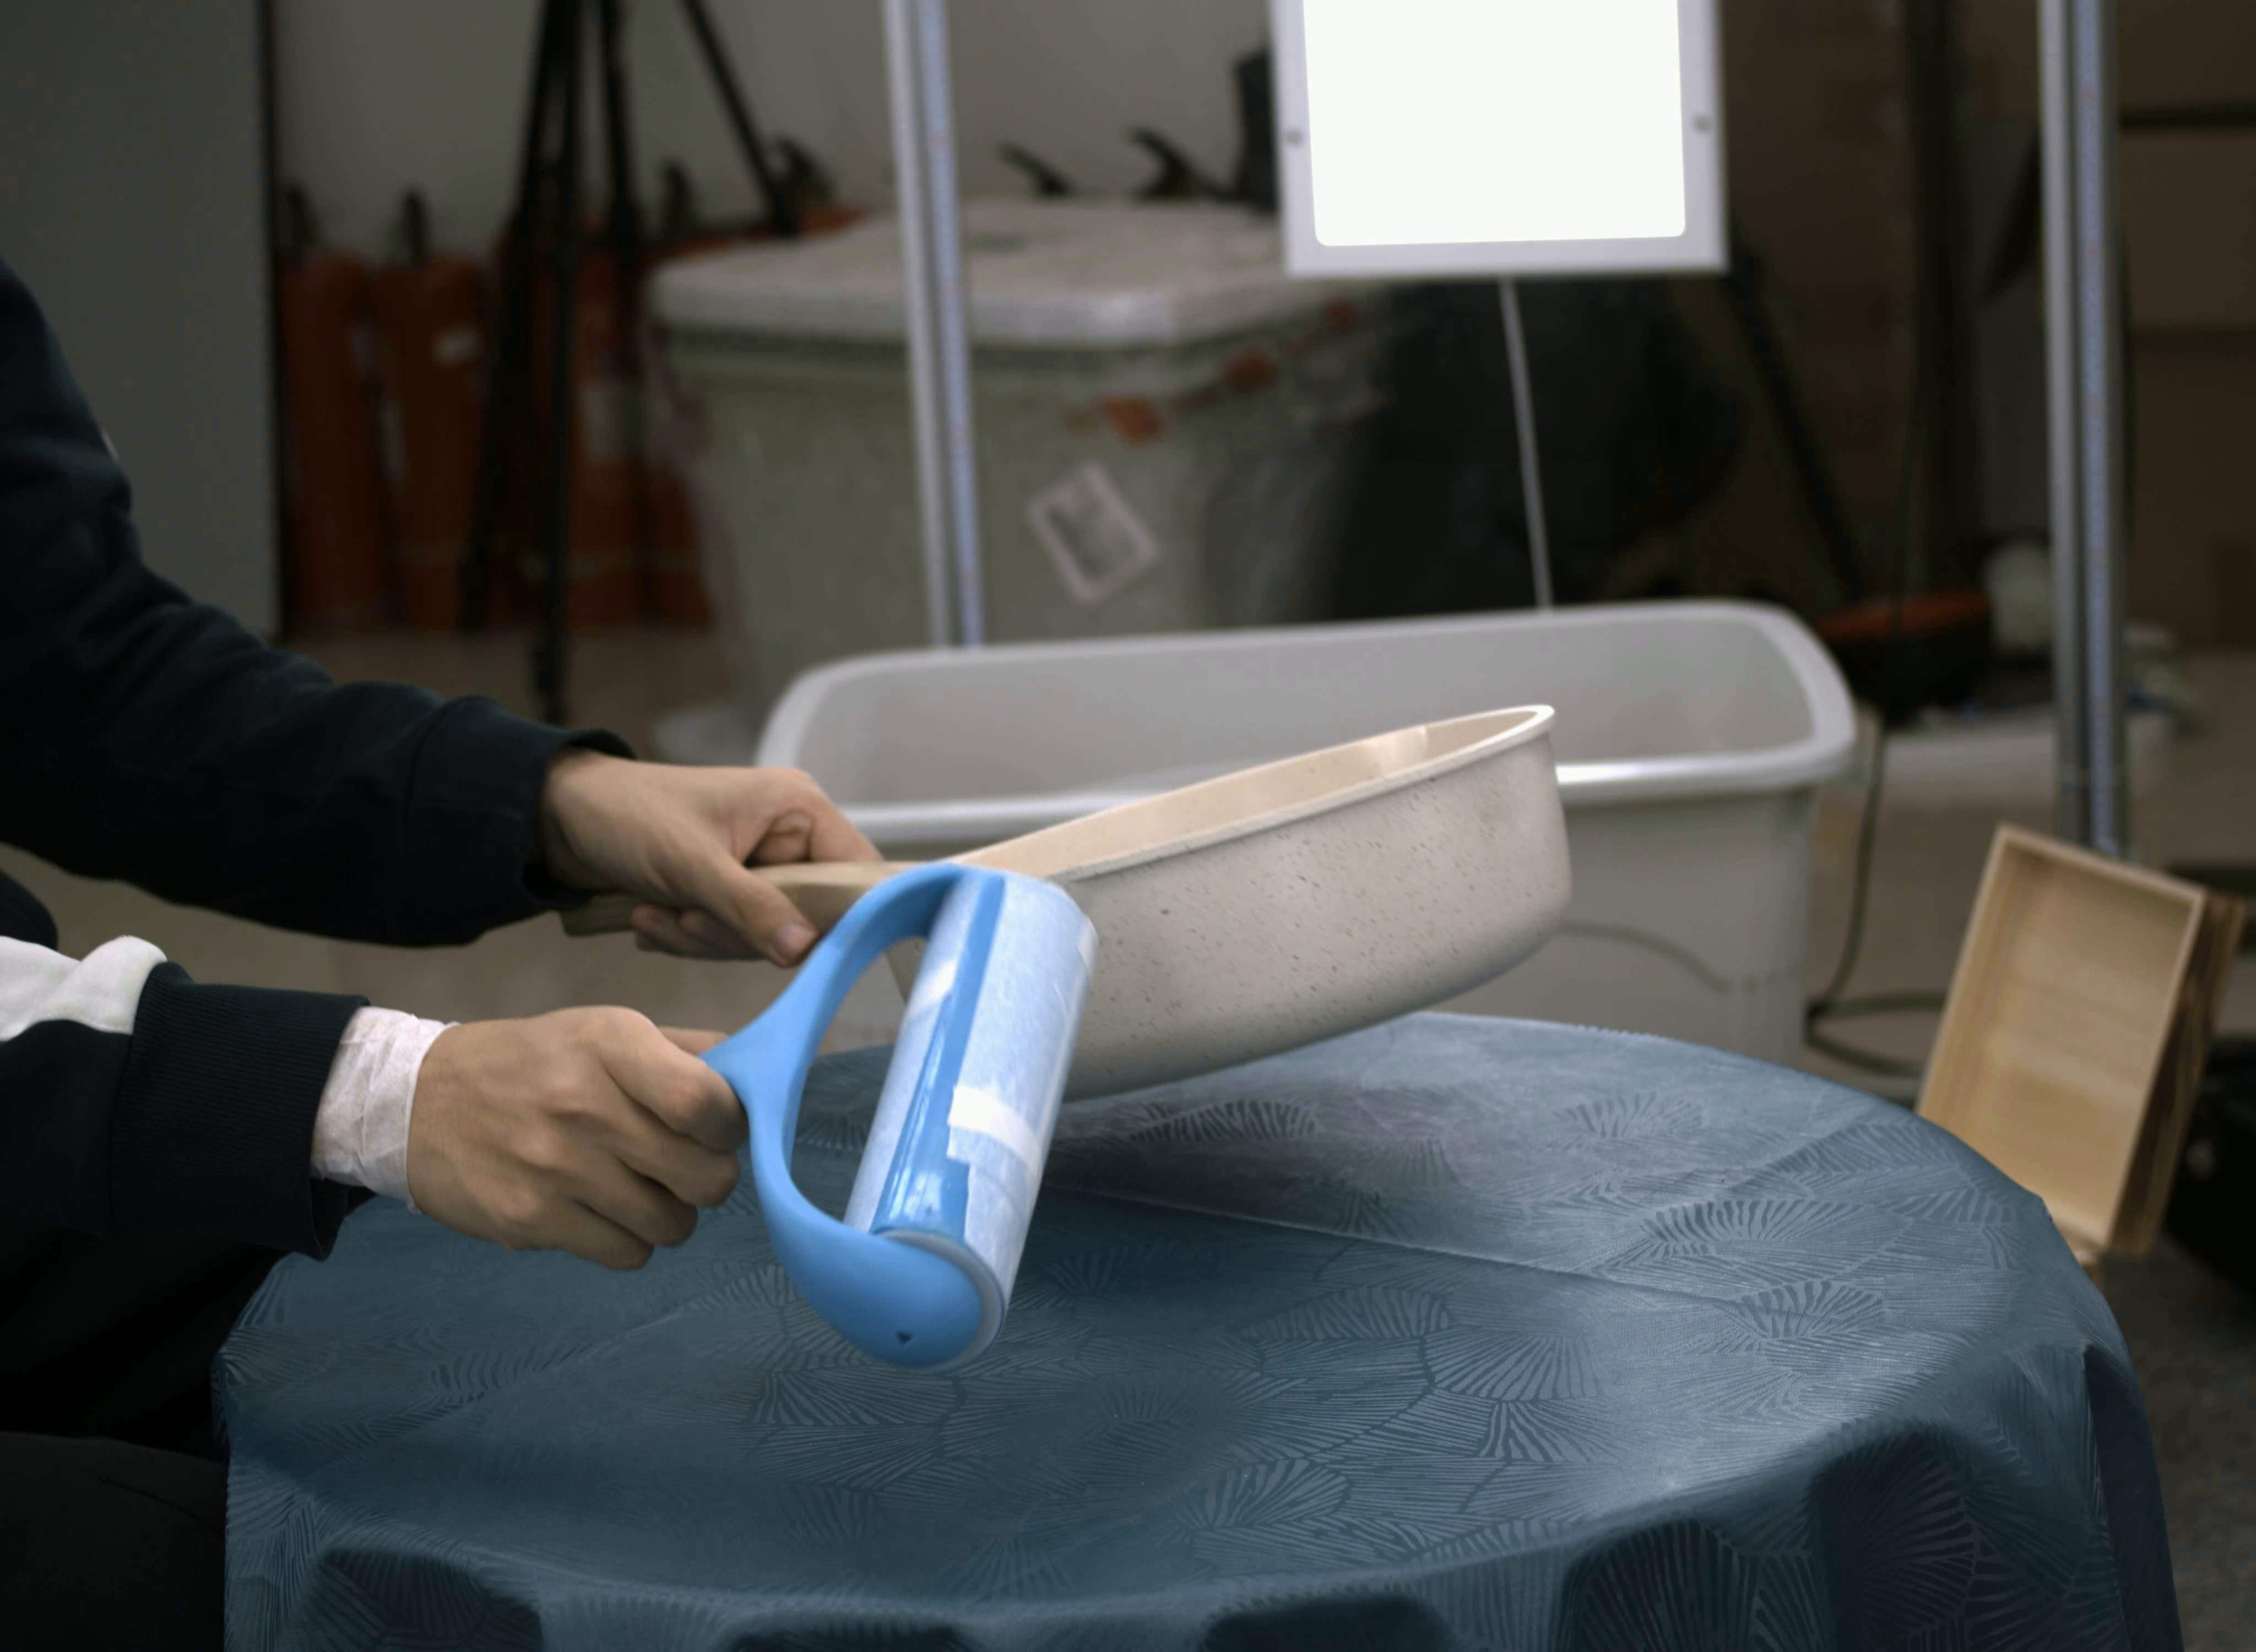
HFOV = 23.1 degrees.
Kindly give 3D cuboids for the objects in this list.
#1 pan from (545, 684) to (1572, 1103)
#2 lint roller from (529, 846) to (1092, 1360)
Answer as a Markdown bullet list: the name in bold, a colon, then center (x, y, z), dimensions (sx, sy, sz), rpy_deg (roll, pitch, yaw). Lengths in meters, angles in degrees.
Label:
- **pan**: center (-0.035, 0.038, 1.965), dimensions (0.445, 0.102, 0.257), rpy_deg (-14, 5, 39)
- **lint roller**: center (-0.106, 0.091, 1.678), dimensions (0.181, 0.068, 0.227), rpy_deg (-11, 32, 12)
